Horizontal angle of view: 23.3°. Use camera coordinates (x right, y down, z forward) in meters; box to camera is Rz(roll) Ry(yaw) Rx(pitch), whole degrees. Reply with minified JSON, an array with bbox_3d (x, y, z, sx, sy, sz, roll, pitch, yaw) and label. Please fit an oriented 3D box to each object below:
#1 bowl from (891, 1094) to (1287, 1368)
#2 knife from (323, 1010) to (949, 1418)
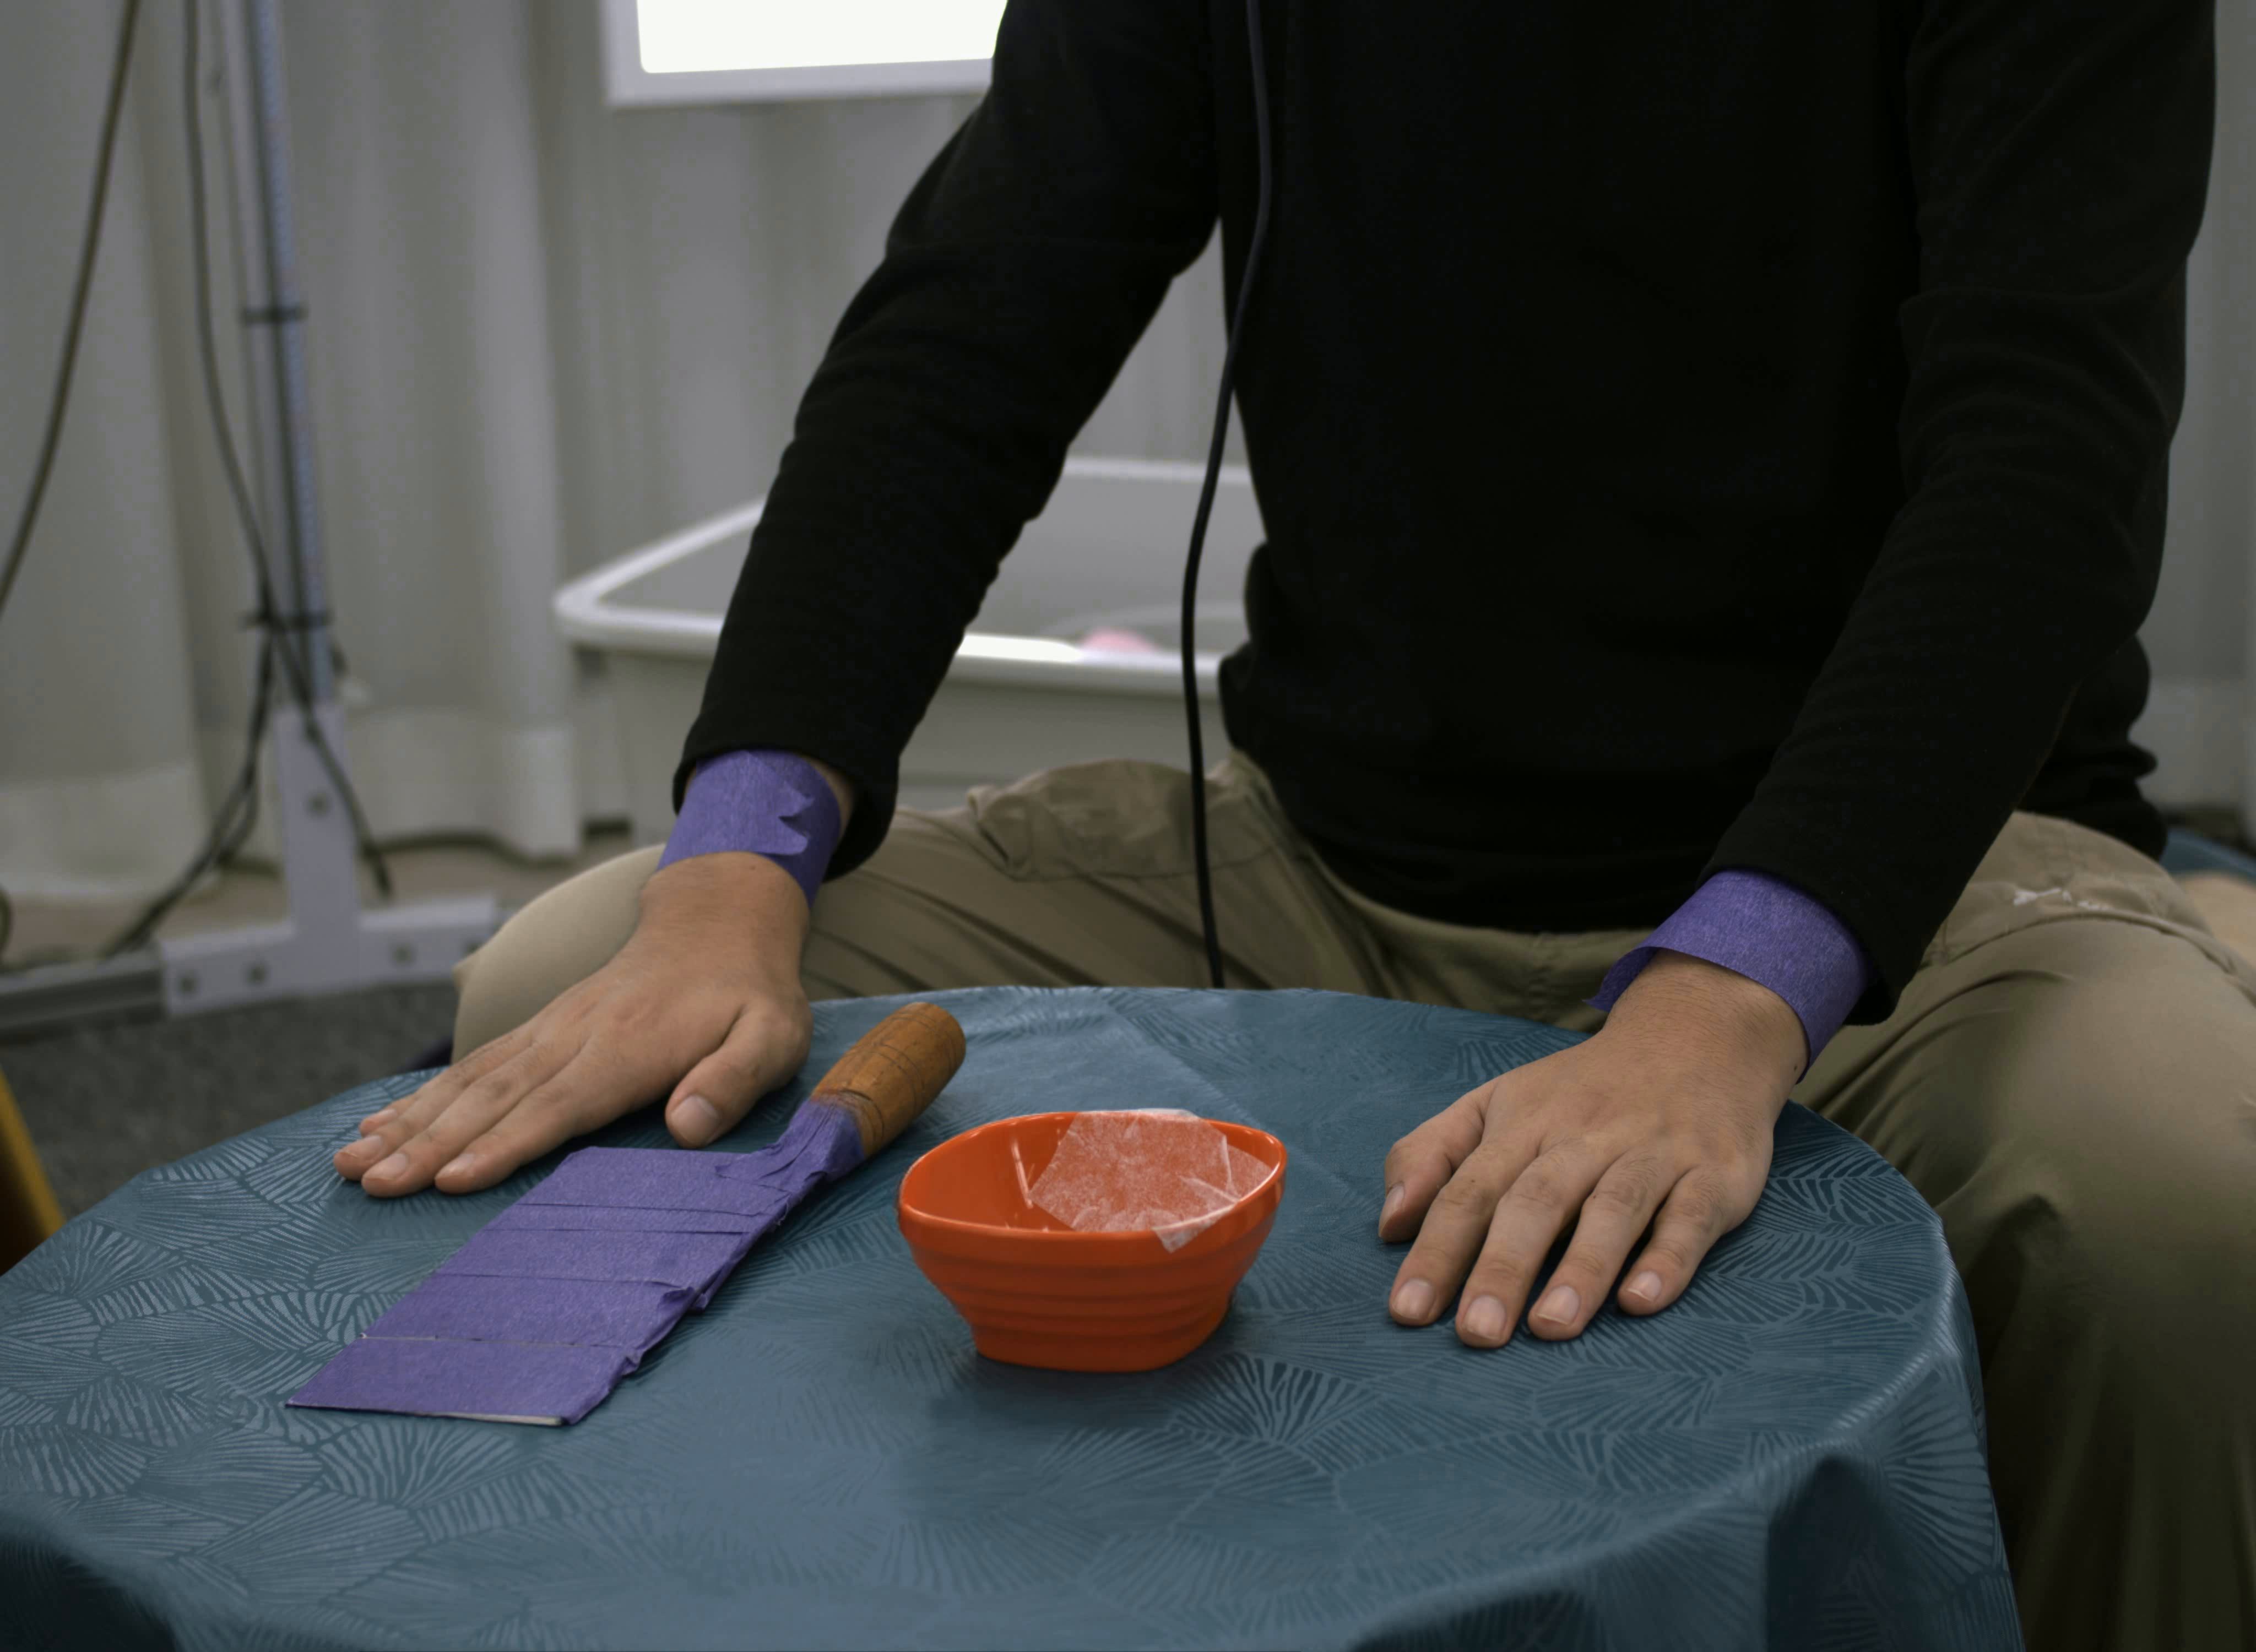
[{"bbox_3d":[-0.009,0.120,1.585,0.118,0.051,0.120,-5,17,1],"label":"bowl"},{"bbox_3d":[-0.148,0.116,1.686,0.104,0.032,0.316,3,16,18],"label":"knife"}]
